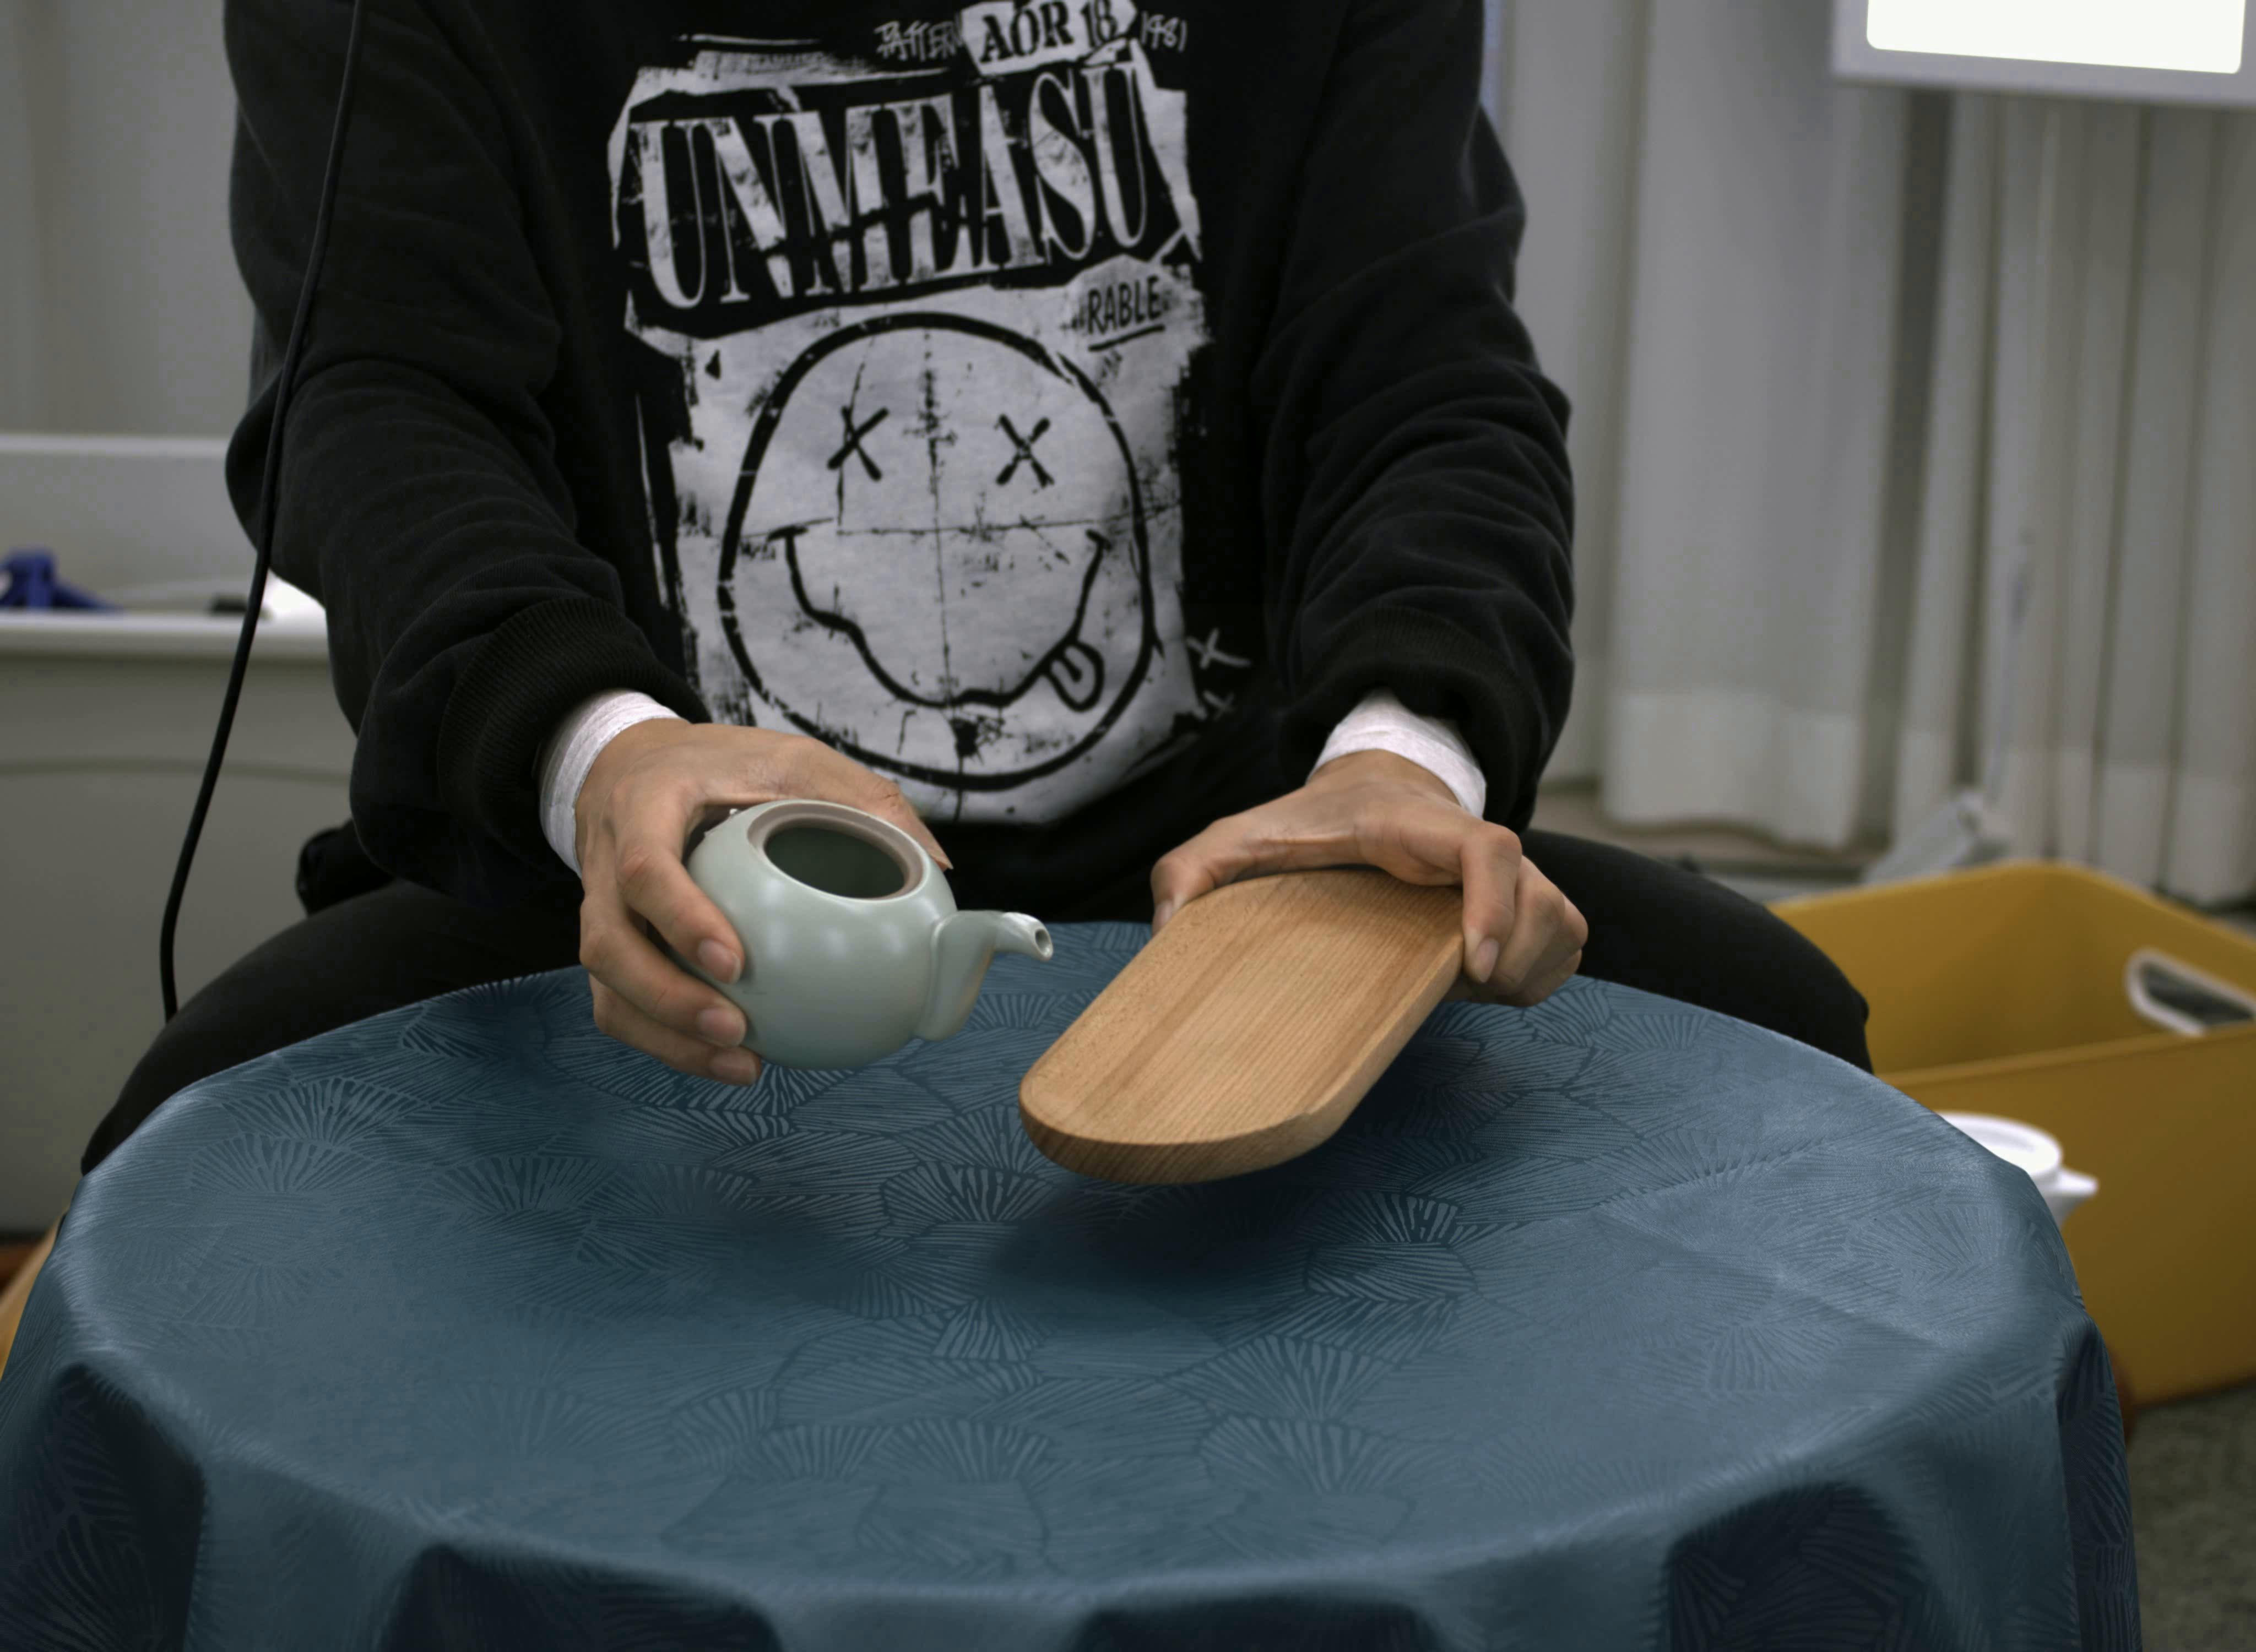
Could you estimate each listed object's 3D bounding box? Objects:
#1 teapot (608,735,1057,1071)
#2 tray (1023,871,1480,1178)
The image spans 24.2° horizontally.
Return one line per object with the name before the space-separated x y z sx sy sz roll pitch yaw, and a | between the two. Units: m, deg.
teapot | -0.094 0.032 1.576 0.143 0.075 0.088 27 27 11
tray | 0.041 0.059 1.627 0.101 0.020 0.231 4 19 19
